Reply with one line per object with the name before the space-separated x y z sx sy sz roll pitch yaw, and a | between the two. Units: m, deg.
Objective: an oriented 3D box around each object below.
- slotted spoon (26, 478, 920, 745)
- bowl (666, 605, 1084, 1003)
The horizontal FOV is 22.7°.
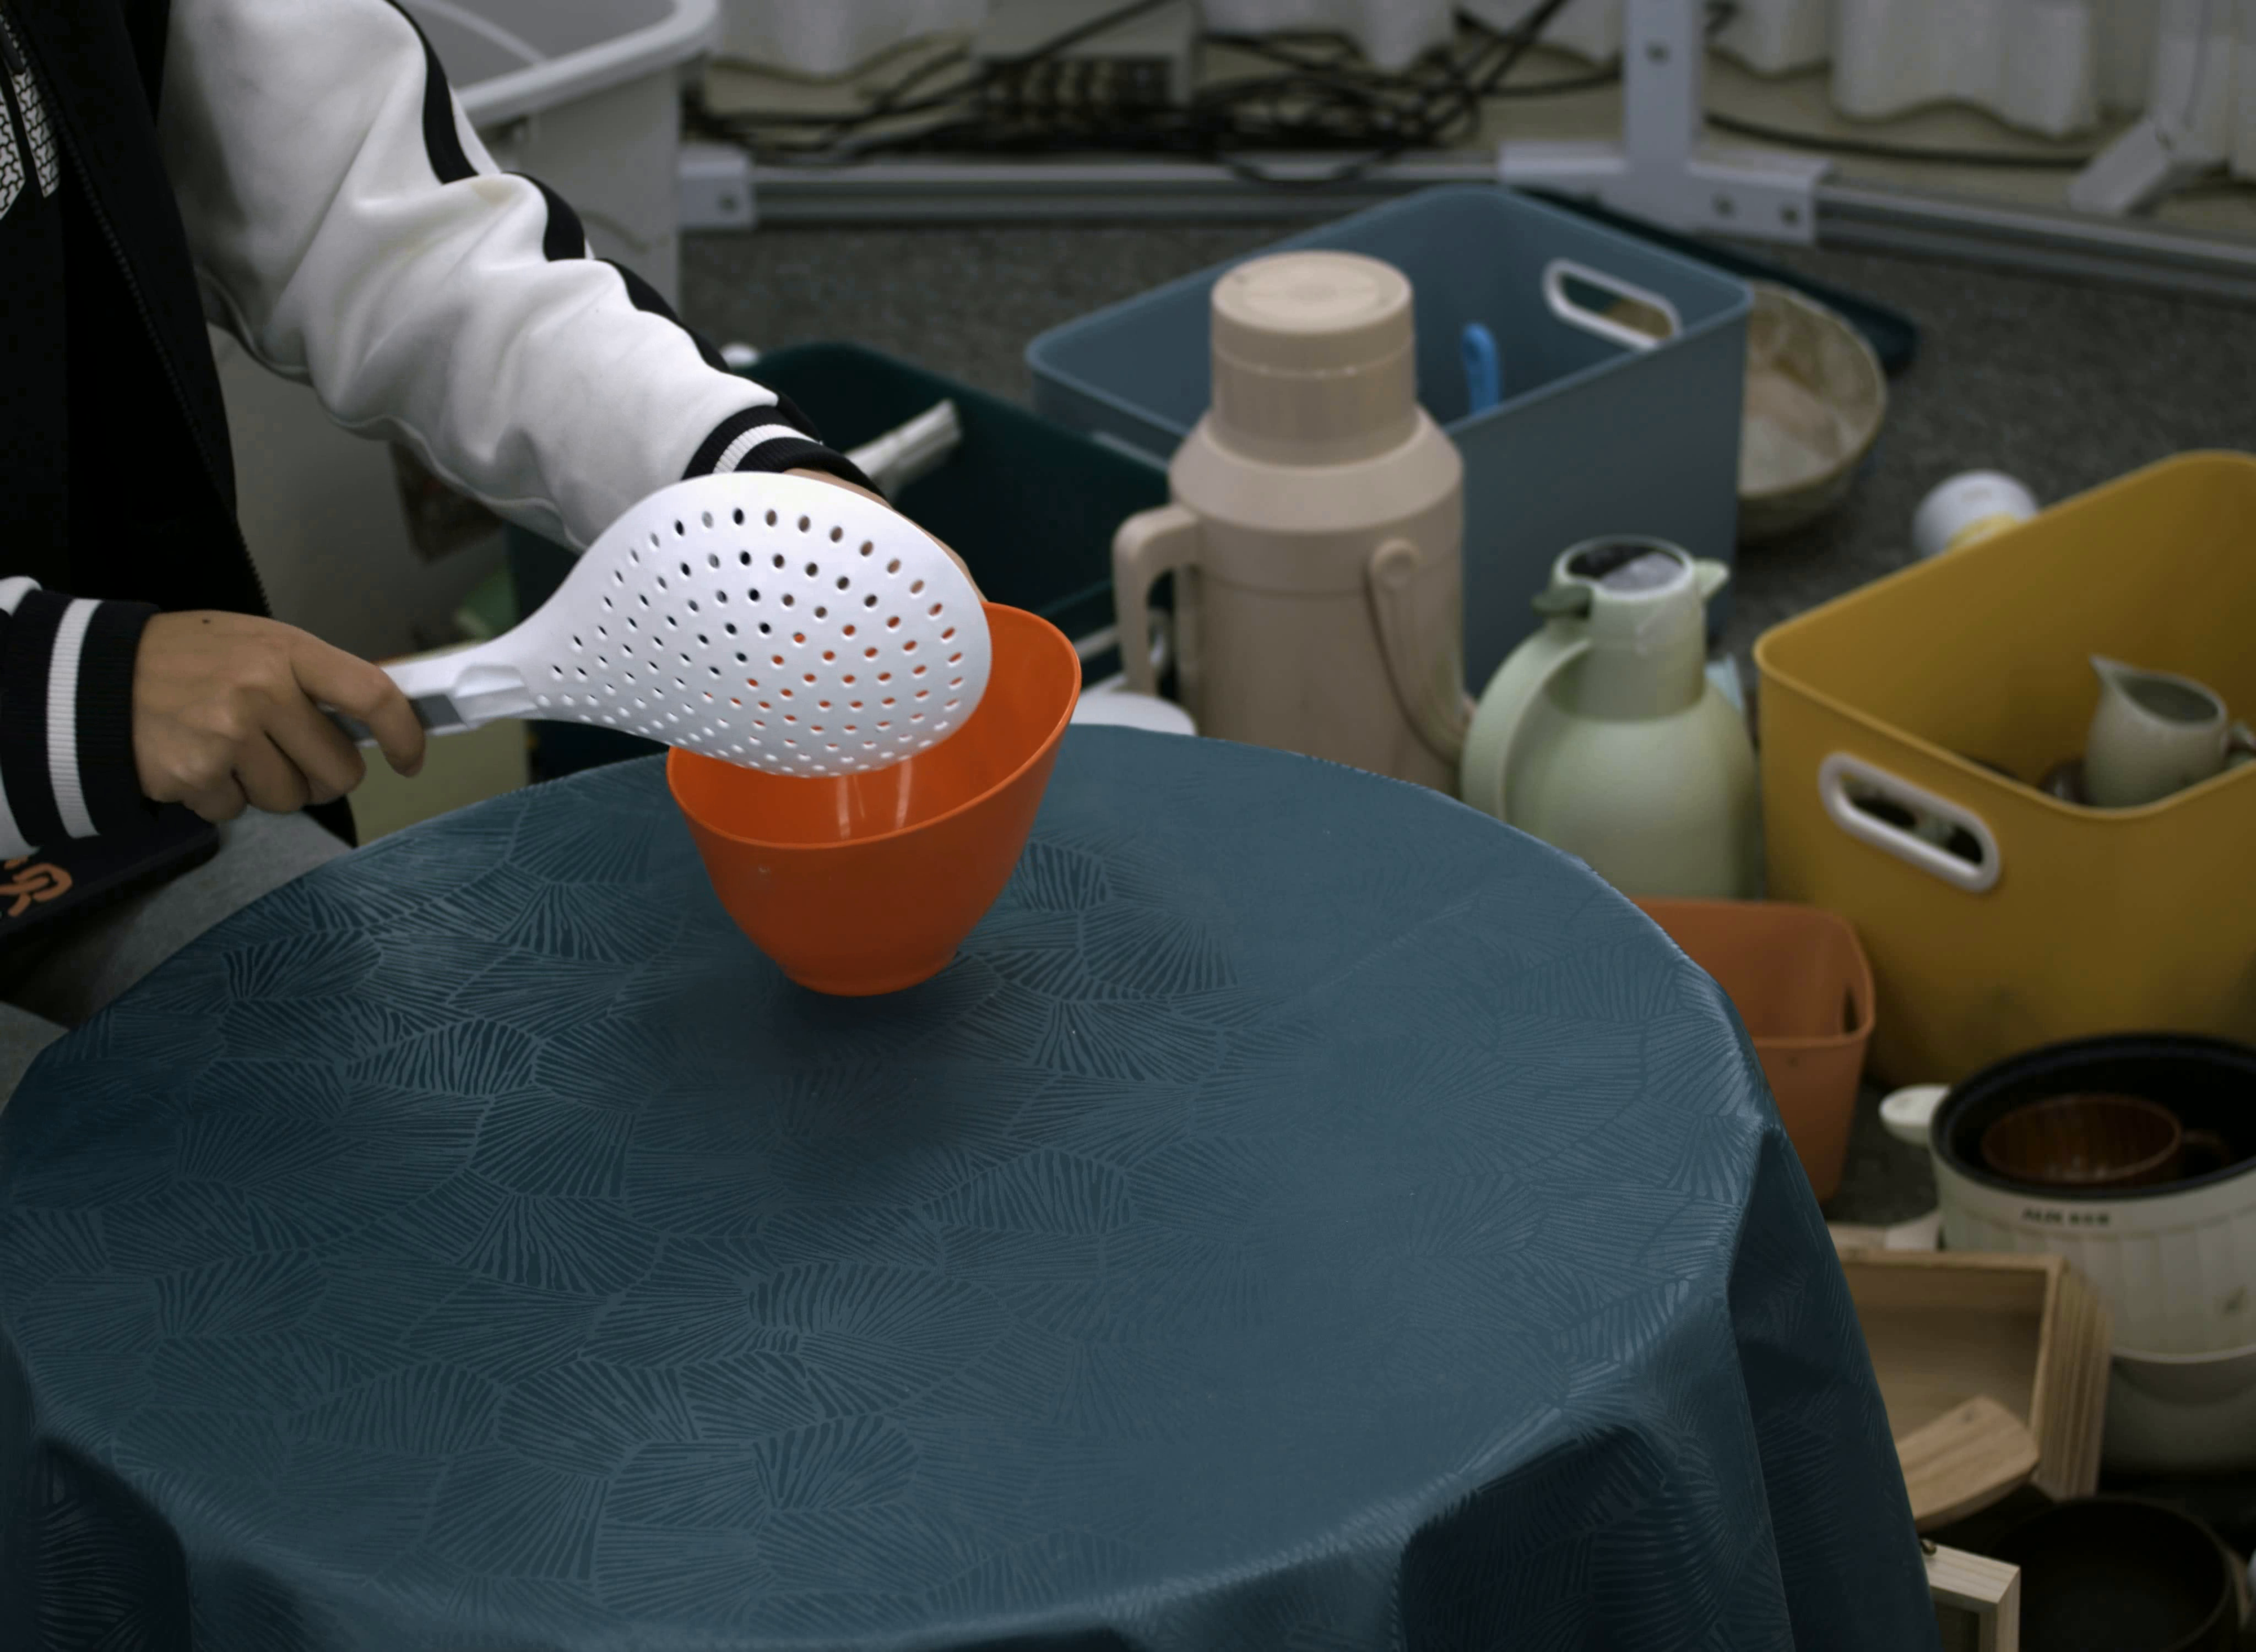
slotted spoon | -0.229 -0.059 1.890 0.346 0.135 0.046 -3 60 31
bowl | -0.084 0.000 1.963 0.147 0.103 0.150 -3 33 3
